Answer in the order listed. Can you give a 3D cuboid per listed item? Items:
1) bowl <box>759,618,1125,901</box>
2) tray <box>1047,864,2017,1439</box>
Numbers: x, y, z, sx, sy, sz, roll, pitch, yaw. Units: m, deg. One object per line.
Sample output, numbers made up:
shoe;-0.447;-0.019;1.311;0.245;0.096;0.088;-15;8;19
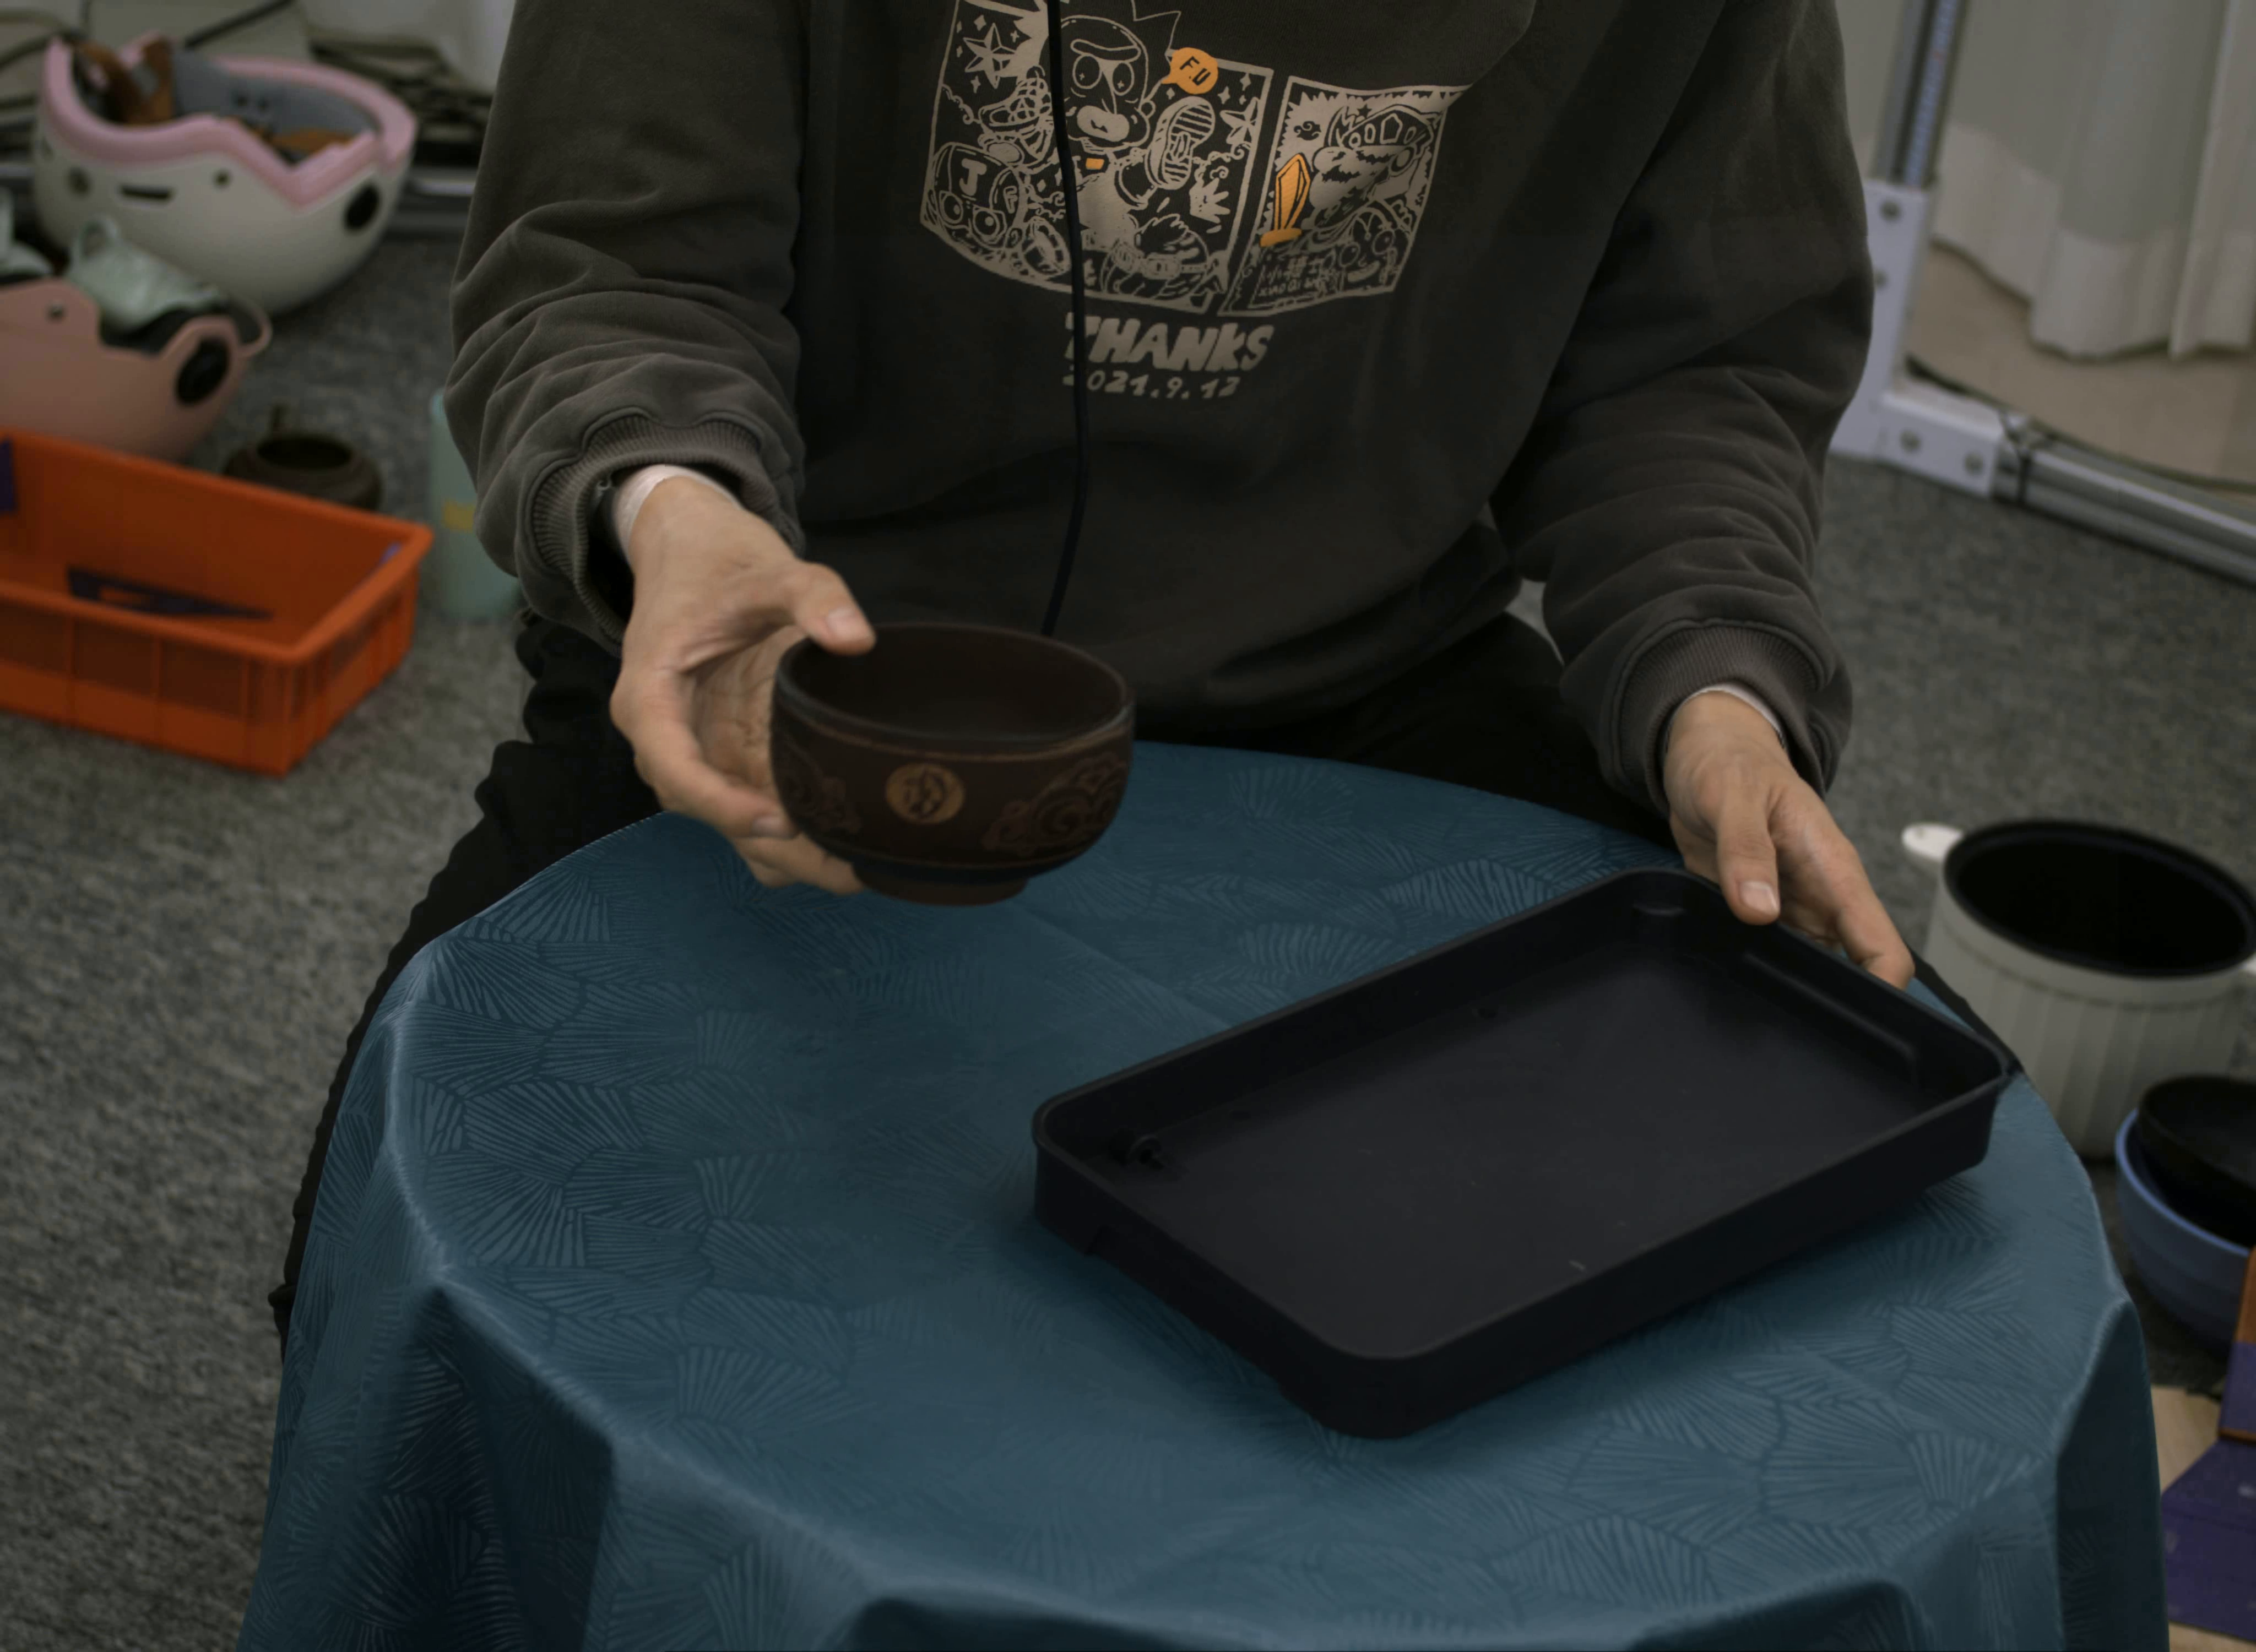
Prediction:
bowl;-0.061;-0.018;1.713;0.117;0.070;0.118;4;18;-2
tray;0.140;0.104;1.817;0.316;0.037;0.186;-21;37;-38
